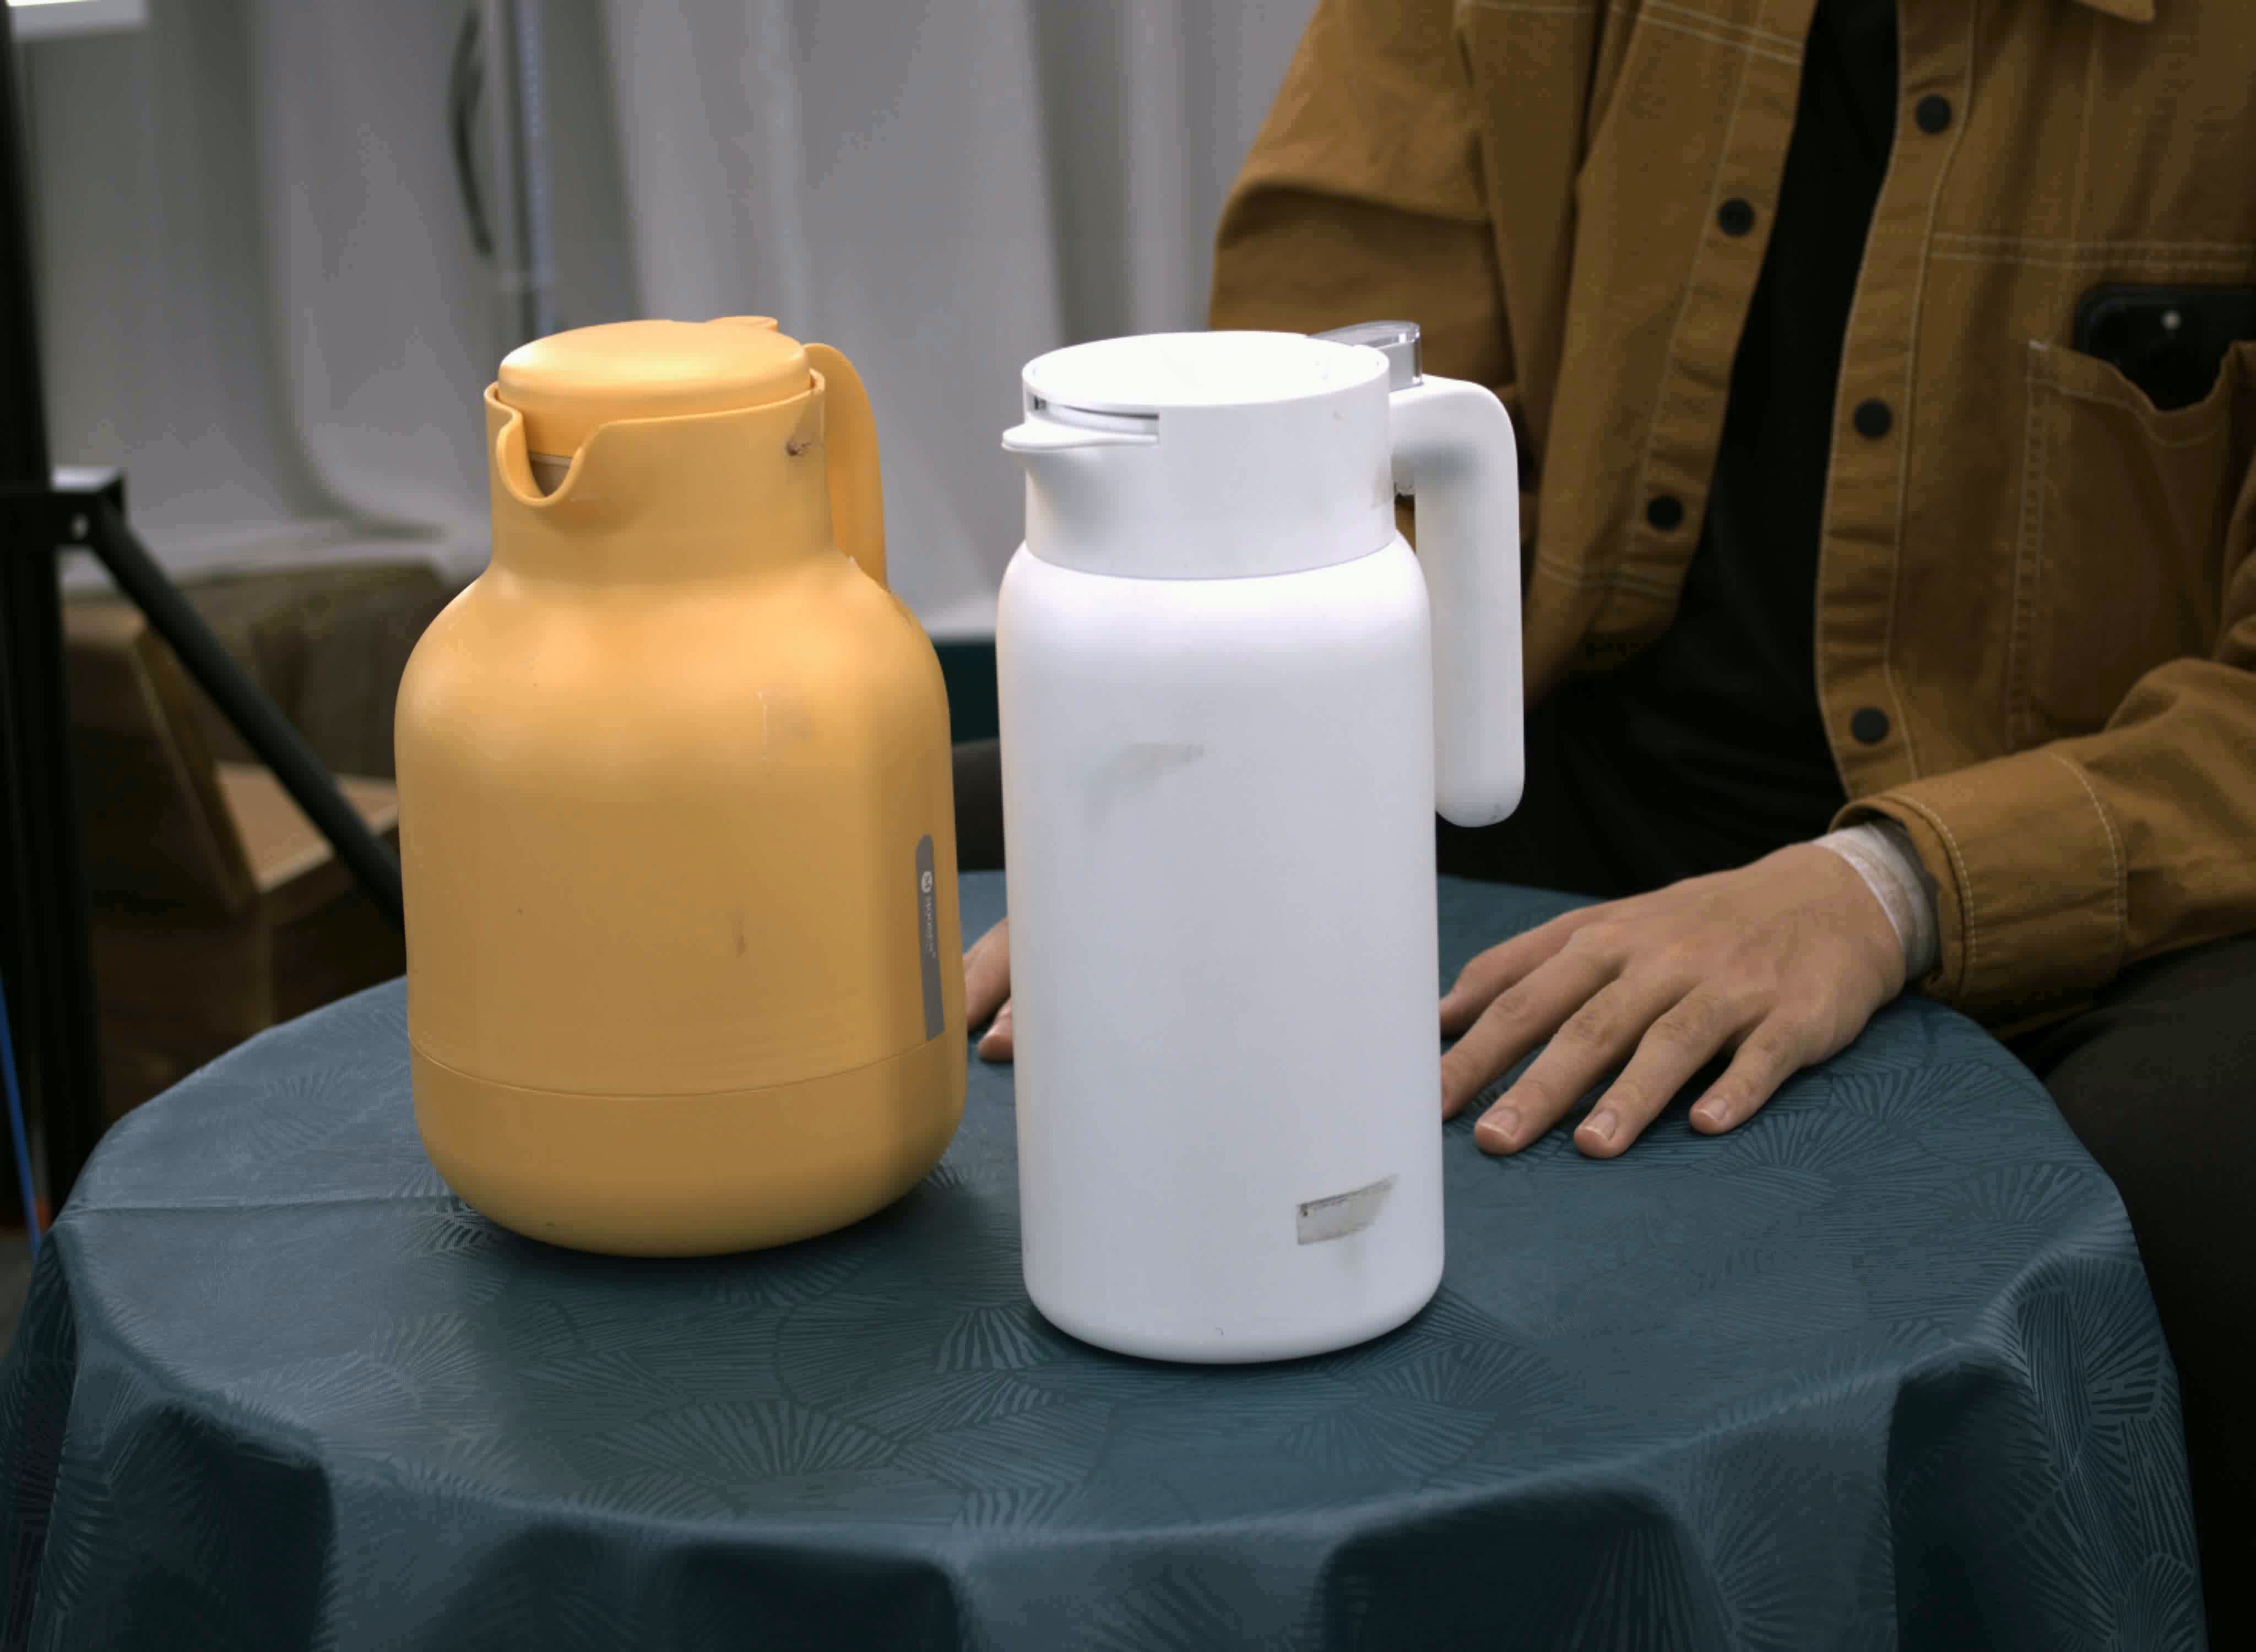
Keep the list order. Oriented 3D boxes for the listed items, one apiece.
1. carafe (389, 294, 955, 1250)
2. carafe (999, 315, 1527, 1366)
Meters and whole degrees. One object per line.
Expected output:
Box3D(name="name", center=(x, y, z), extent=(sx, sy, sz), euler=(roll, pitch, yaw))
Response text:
Box3D(name="carafe", center=(-0.123, -0.023, 1.555), extent=(0.166, 0.260, 0.199), euler=(9, 20, 25))
Box3D(name="carafe", center=(0.038, -0.001, 1.442), extent=(0.169, 0.269, 0.126), euler=(-14, 17, -39))
